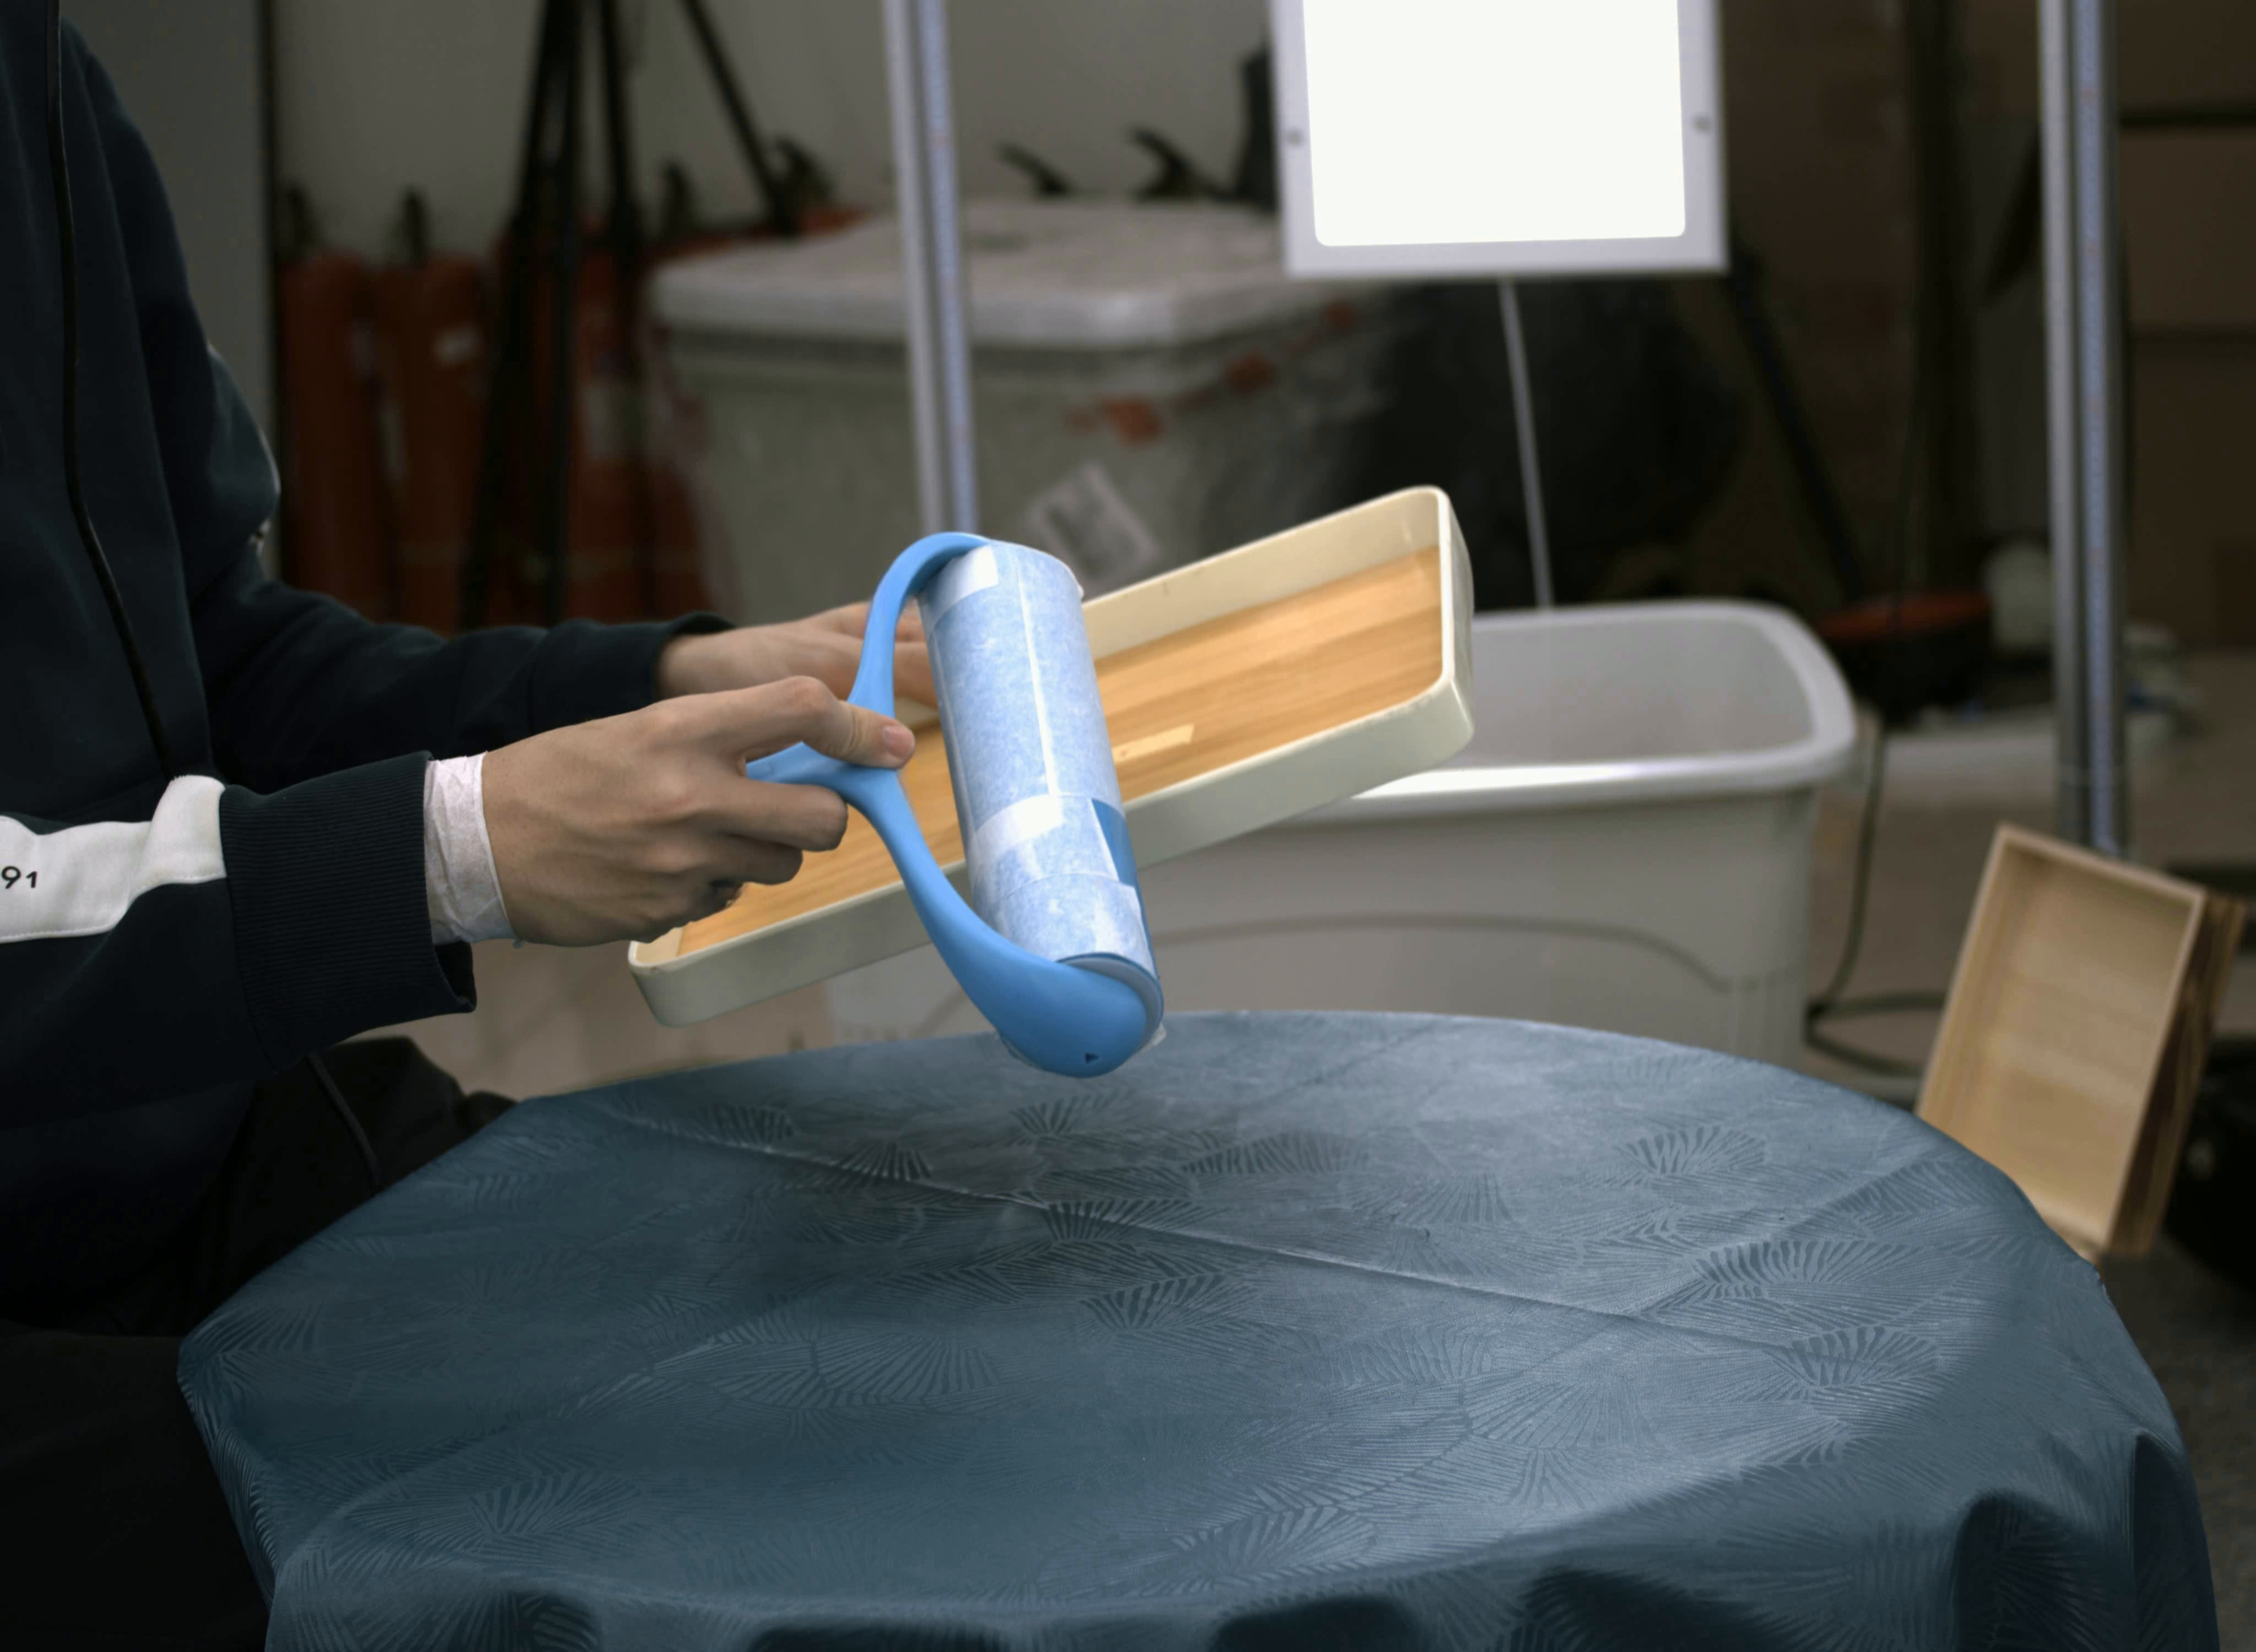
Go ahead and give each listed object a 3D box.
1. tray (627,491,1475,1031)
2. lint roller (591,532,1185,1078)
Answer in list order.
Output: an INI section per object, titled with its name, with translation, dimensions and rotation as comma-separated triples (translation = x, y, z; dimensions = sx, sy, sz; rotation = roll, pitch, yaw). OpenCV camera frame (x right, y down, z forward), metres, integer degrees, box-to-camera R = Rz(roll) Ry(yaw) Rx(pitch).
[tray]
translation = -0.024, -0.024, 1.902
dimensions = 0.303, 0.027, 0.190
rotation = -19, 23, 14
[lint roller]
translation = -0.084, 0.000, 1.764
dimensions = 0.179, 0.068, 0.230
rotation = -10, 47, -7
